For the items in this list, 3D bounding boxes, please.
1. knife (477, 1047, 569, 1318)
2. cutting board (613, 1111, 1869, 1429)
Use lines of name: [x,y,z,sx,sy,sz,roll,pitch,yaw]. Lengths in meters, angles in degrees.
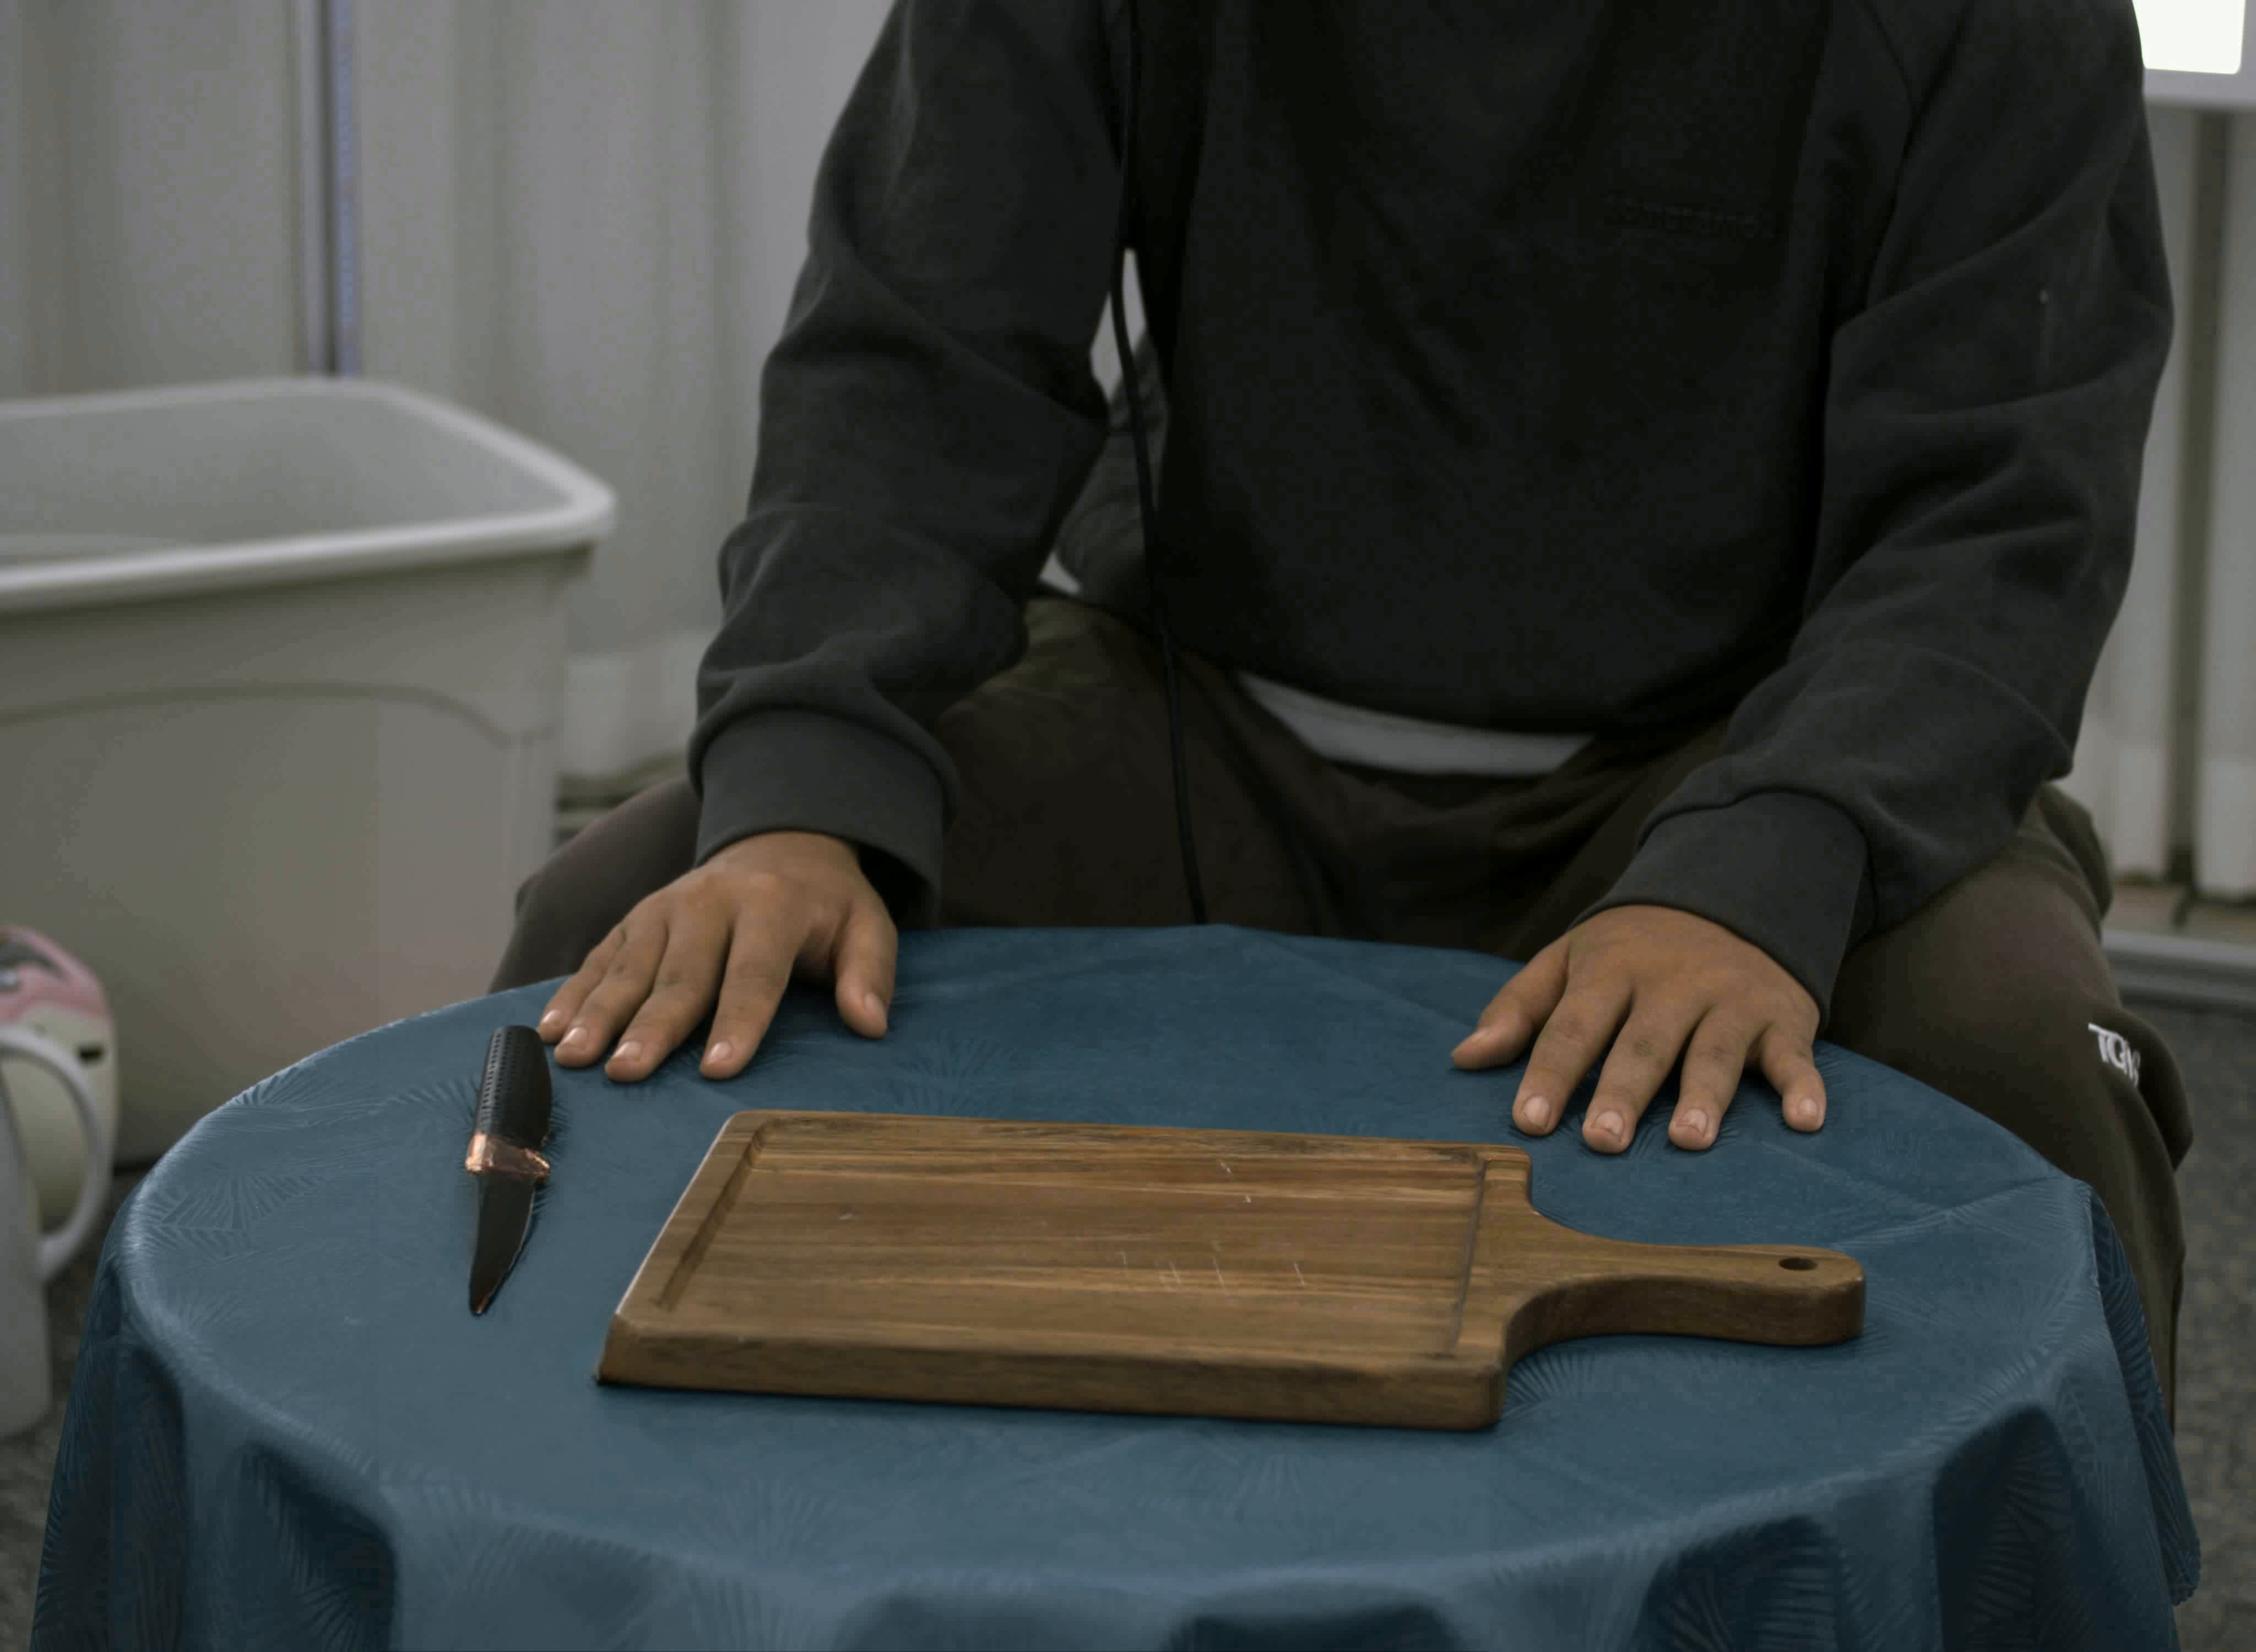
knife: [-0.187,0.108,1.615,0.026,0.017,0.224,6,16,-4]
cutting board: [0.039,0.128,1.532,0.350,0.023,0.200,2,16,5]
